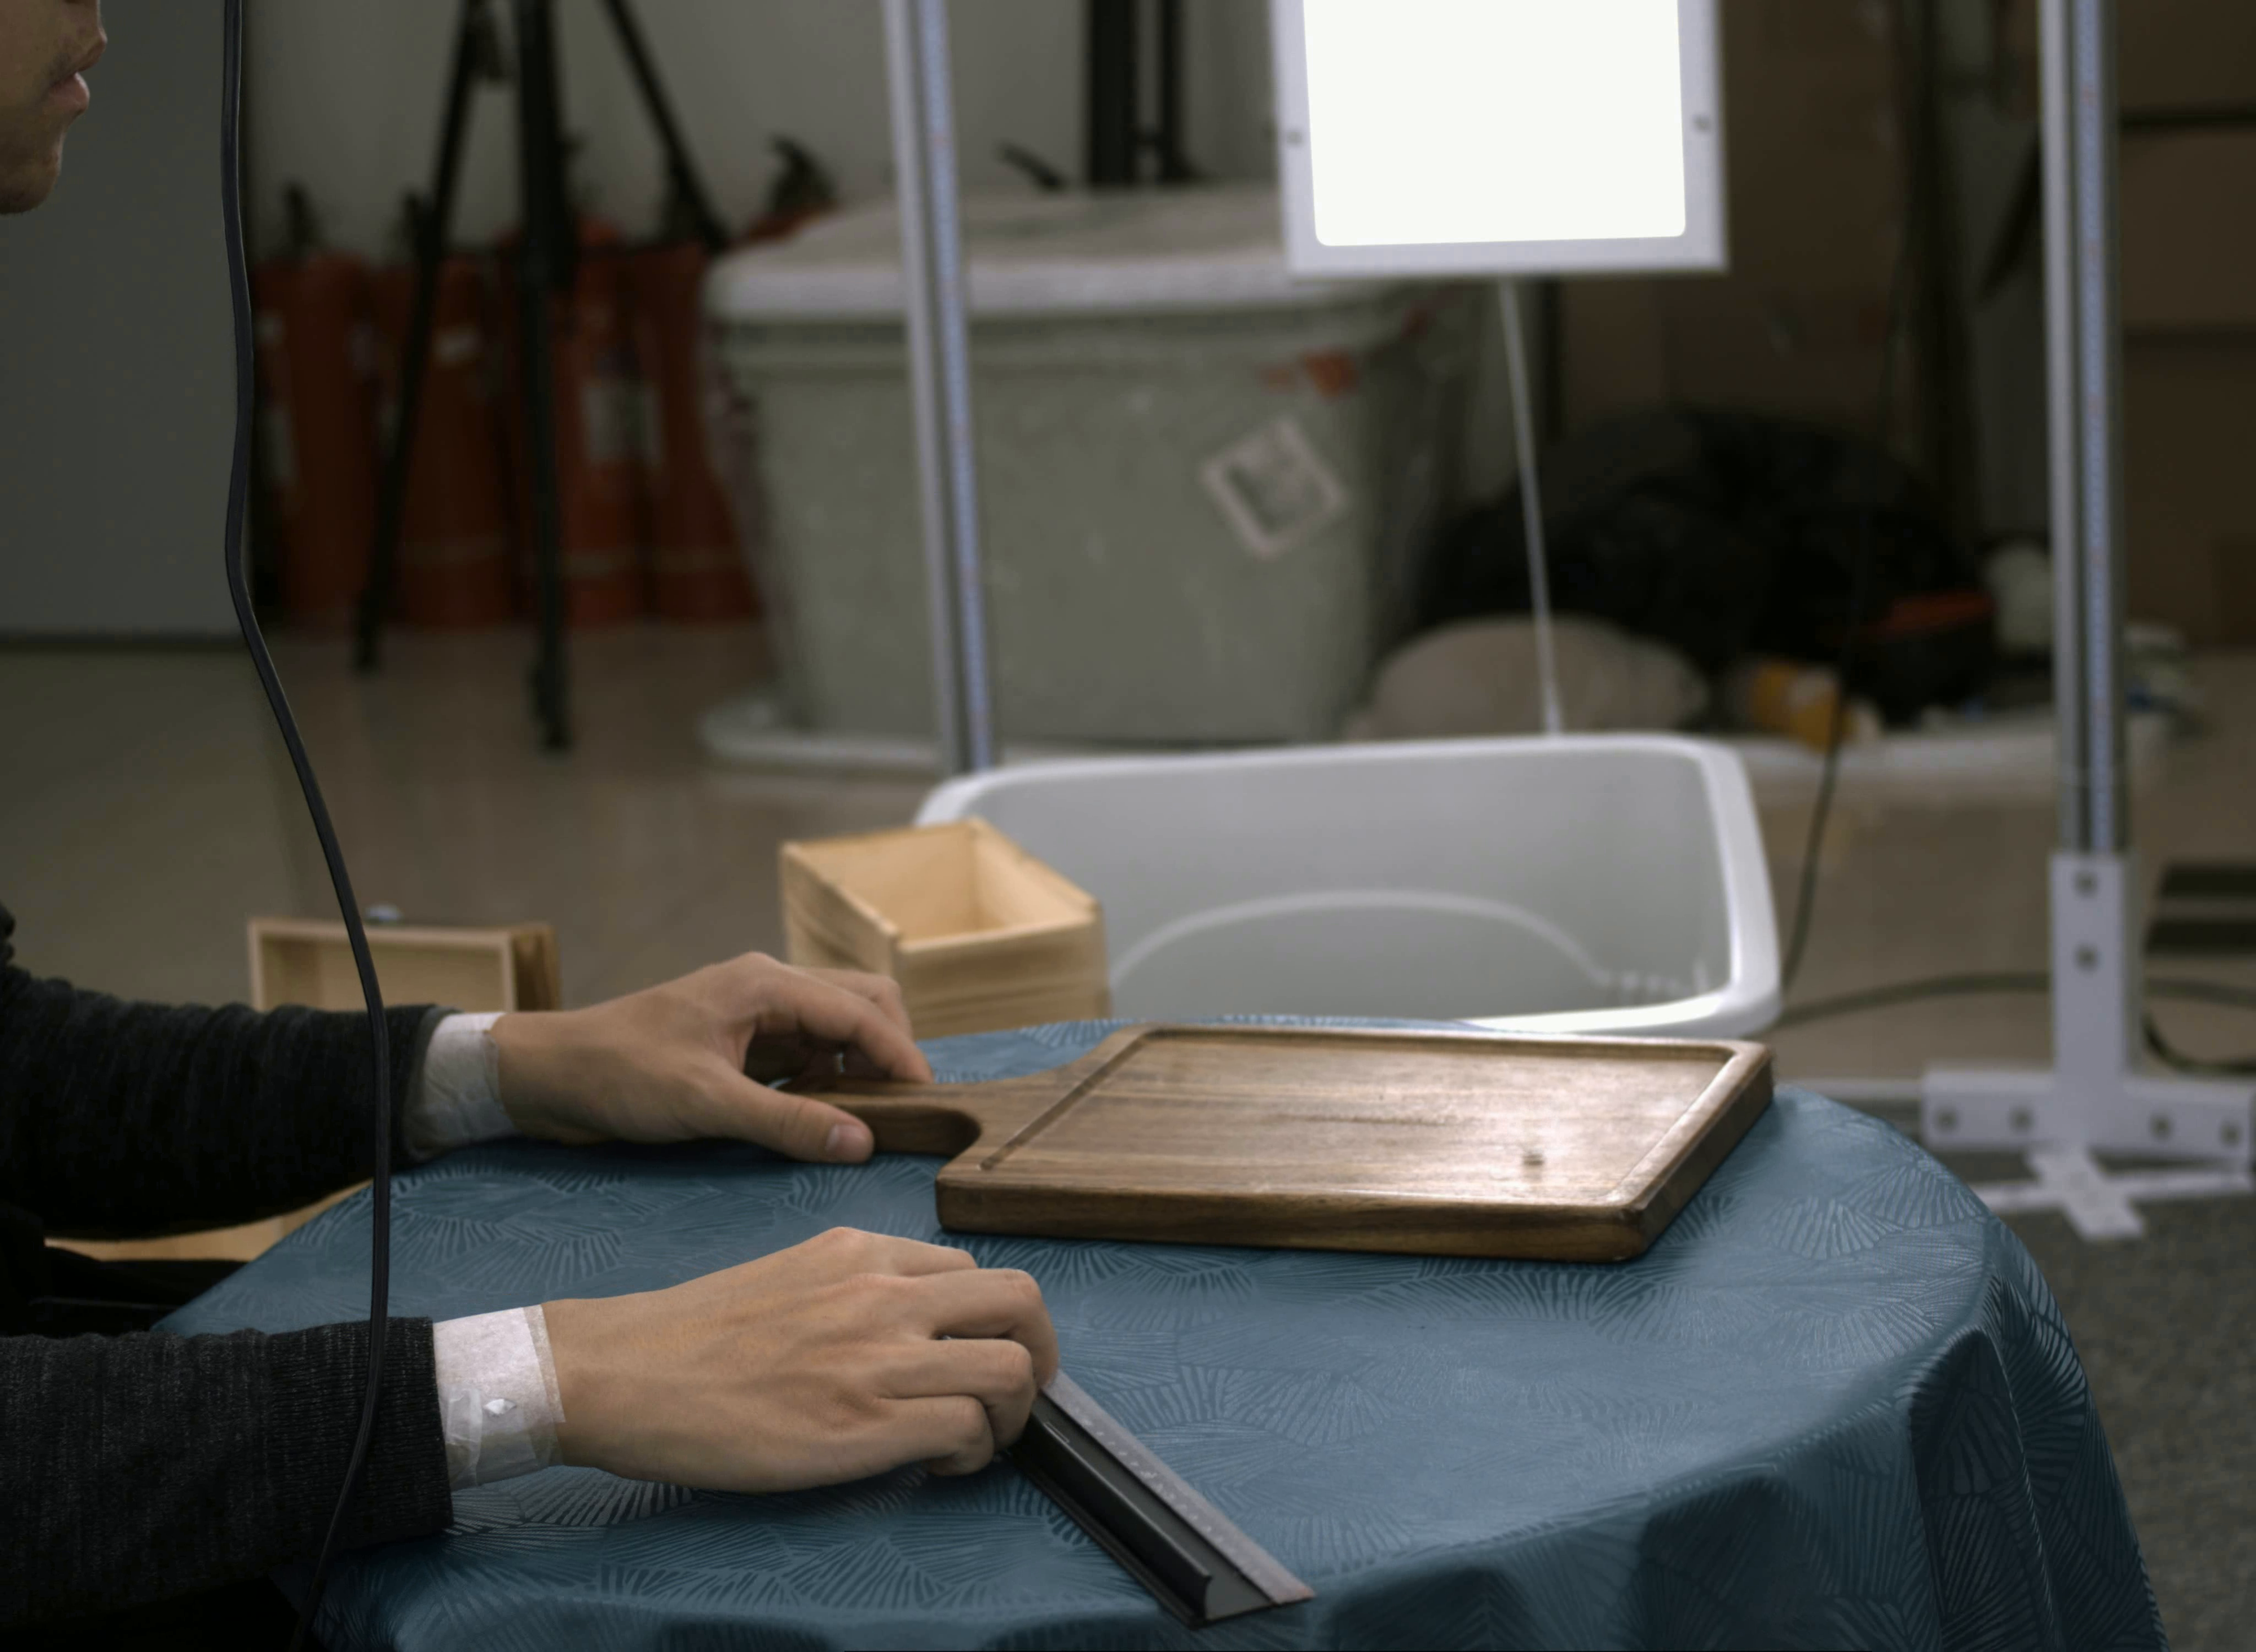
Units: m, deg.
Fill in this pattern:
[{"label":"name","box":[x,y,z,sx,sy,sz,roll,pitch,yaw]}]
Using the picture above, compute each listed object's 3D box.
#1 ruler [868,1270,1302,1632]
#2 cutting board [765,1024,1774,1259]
[{"label":"ruler","box":[-0.018,0.180,1.653,0.038,0.017,0.316,-9,14,-17]},{"label":"cutting board","box":[0.036,0.106,1.925,0.357,0.023,0.197,0,15,23]}]
